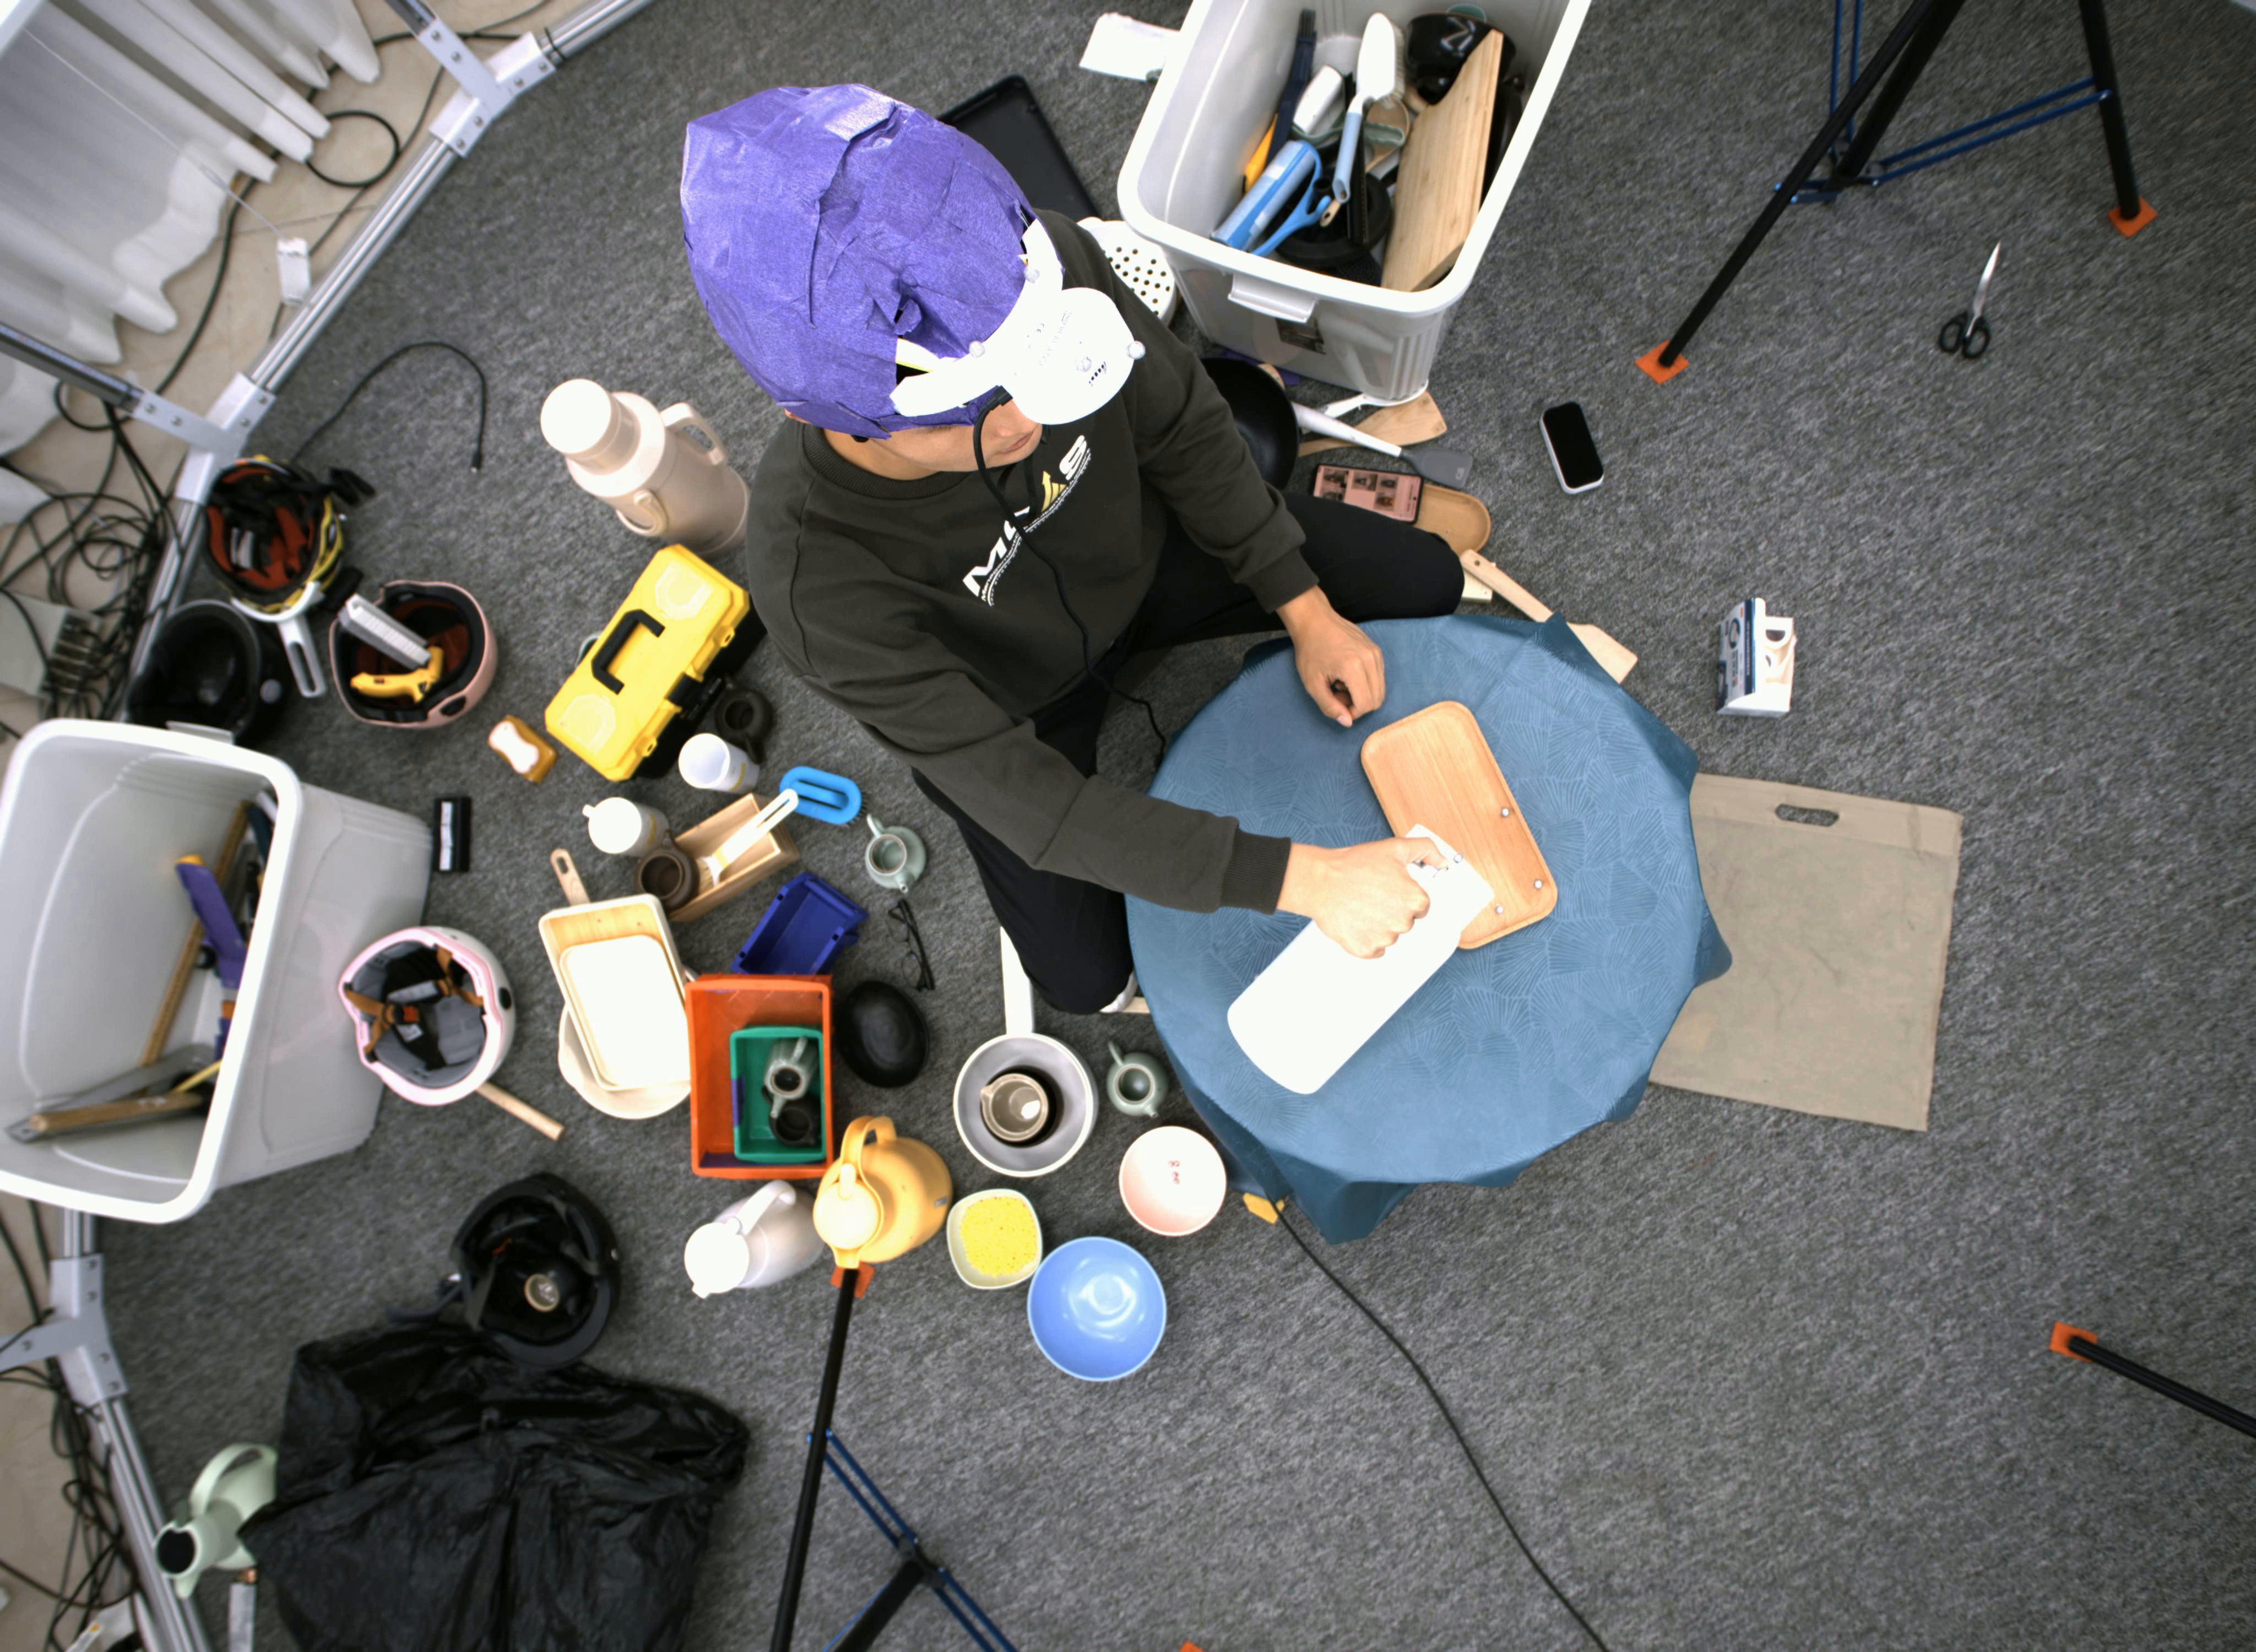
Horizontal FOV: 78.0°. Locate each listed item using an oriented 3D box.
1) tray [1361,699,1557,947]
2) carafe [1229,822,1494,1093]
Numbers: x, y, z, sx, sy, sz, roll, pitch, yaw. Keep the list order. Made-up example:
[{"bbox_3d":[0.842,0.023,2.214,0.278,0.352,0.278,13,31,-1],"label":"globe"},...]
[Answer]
[{"bbox_3d":[0.346,-0.006,1.442,0.131,0.023,0.249,-23,82,6],"label":"tray"},{"bbox_3d":[0.216,0.126,1.310,0.273,0.172,0.123,-48,71,18],"label":"carafe"}]
